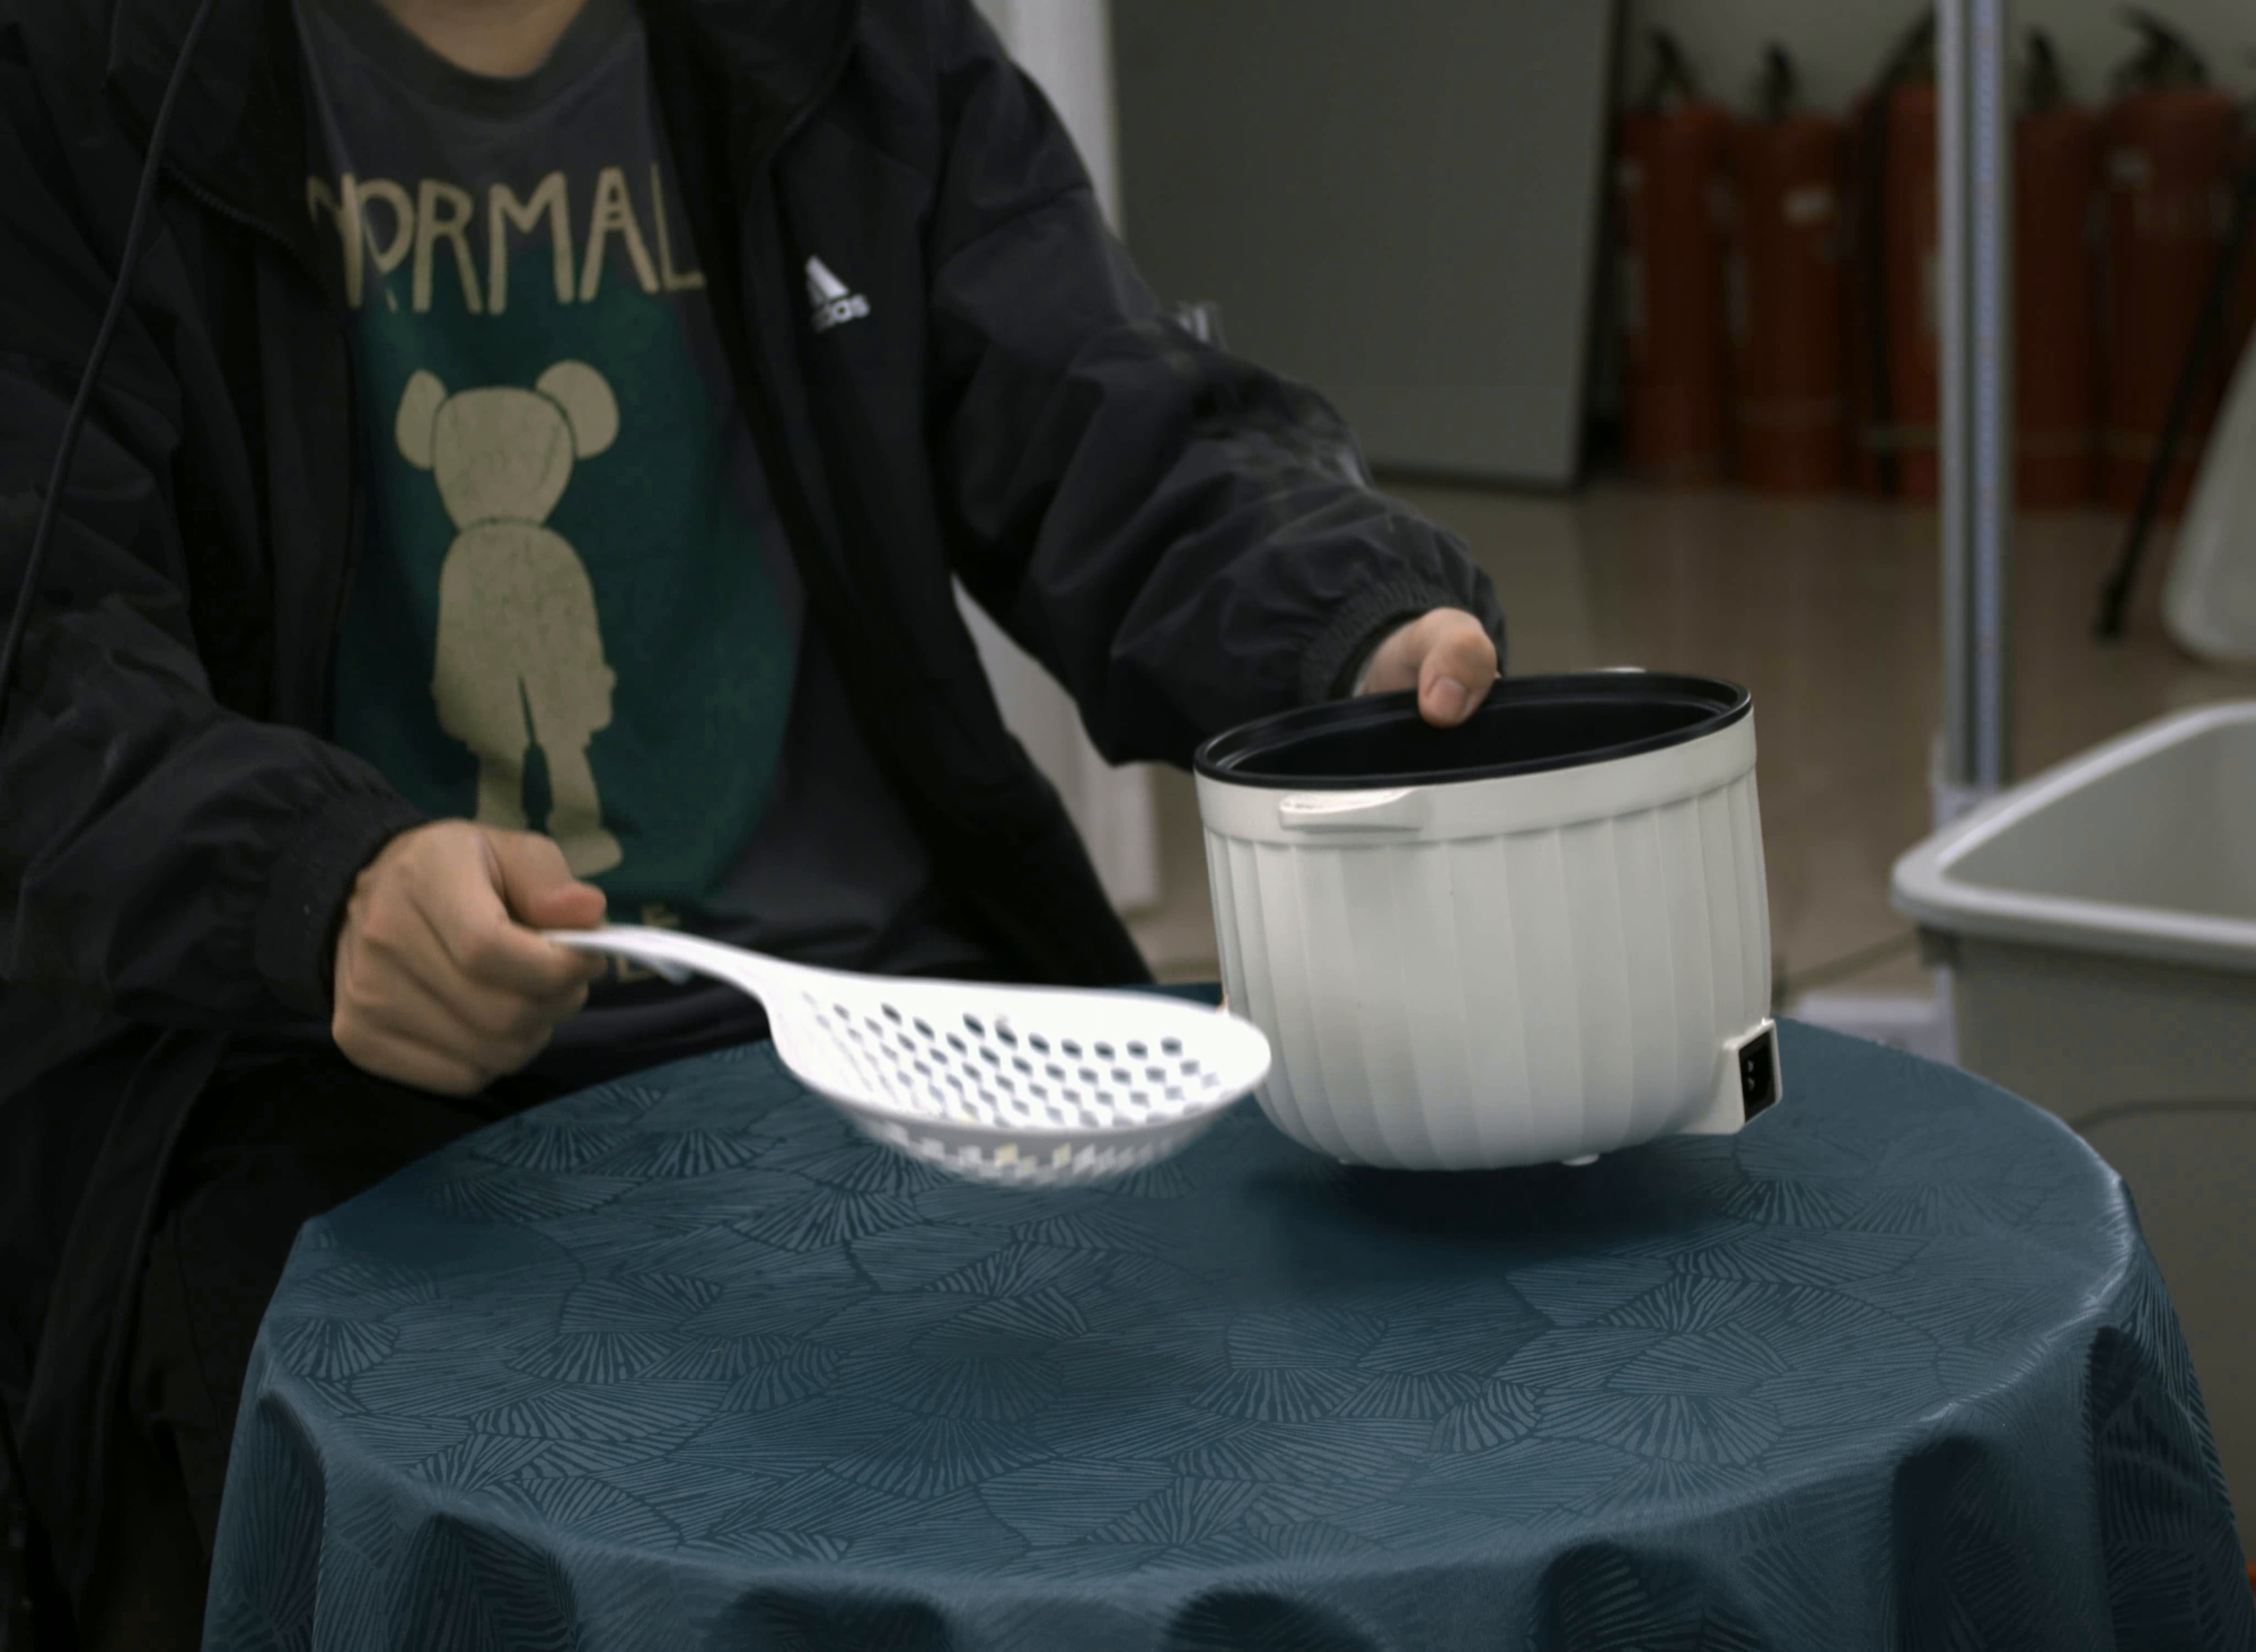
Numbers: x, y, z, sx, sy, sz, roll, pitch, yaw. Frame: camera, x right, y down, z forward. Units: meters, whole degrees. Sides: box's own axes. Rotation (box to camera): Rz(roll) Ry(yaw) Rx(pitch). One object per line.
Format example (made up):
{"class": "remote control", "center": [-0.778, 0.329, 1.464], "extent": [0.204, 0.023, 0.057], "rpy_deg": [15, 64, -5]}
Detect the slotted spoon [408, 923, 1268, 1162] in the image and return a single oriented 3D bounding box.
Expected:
{"class": "slotted spoon", "center": [-0.105, 0.054, 1.680], "extent": [0.351, 0.051, 0.134], "rpy_deg": [16, 23, 43]}

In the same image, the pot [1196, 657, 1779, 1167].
{"class": "pot", "center": [0.112, 0.029, 1.733], "extent": [0.191, 0.144, 0.237], "rpy_deg": [1, 11, 28]}
